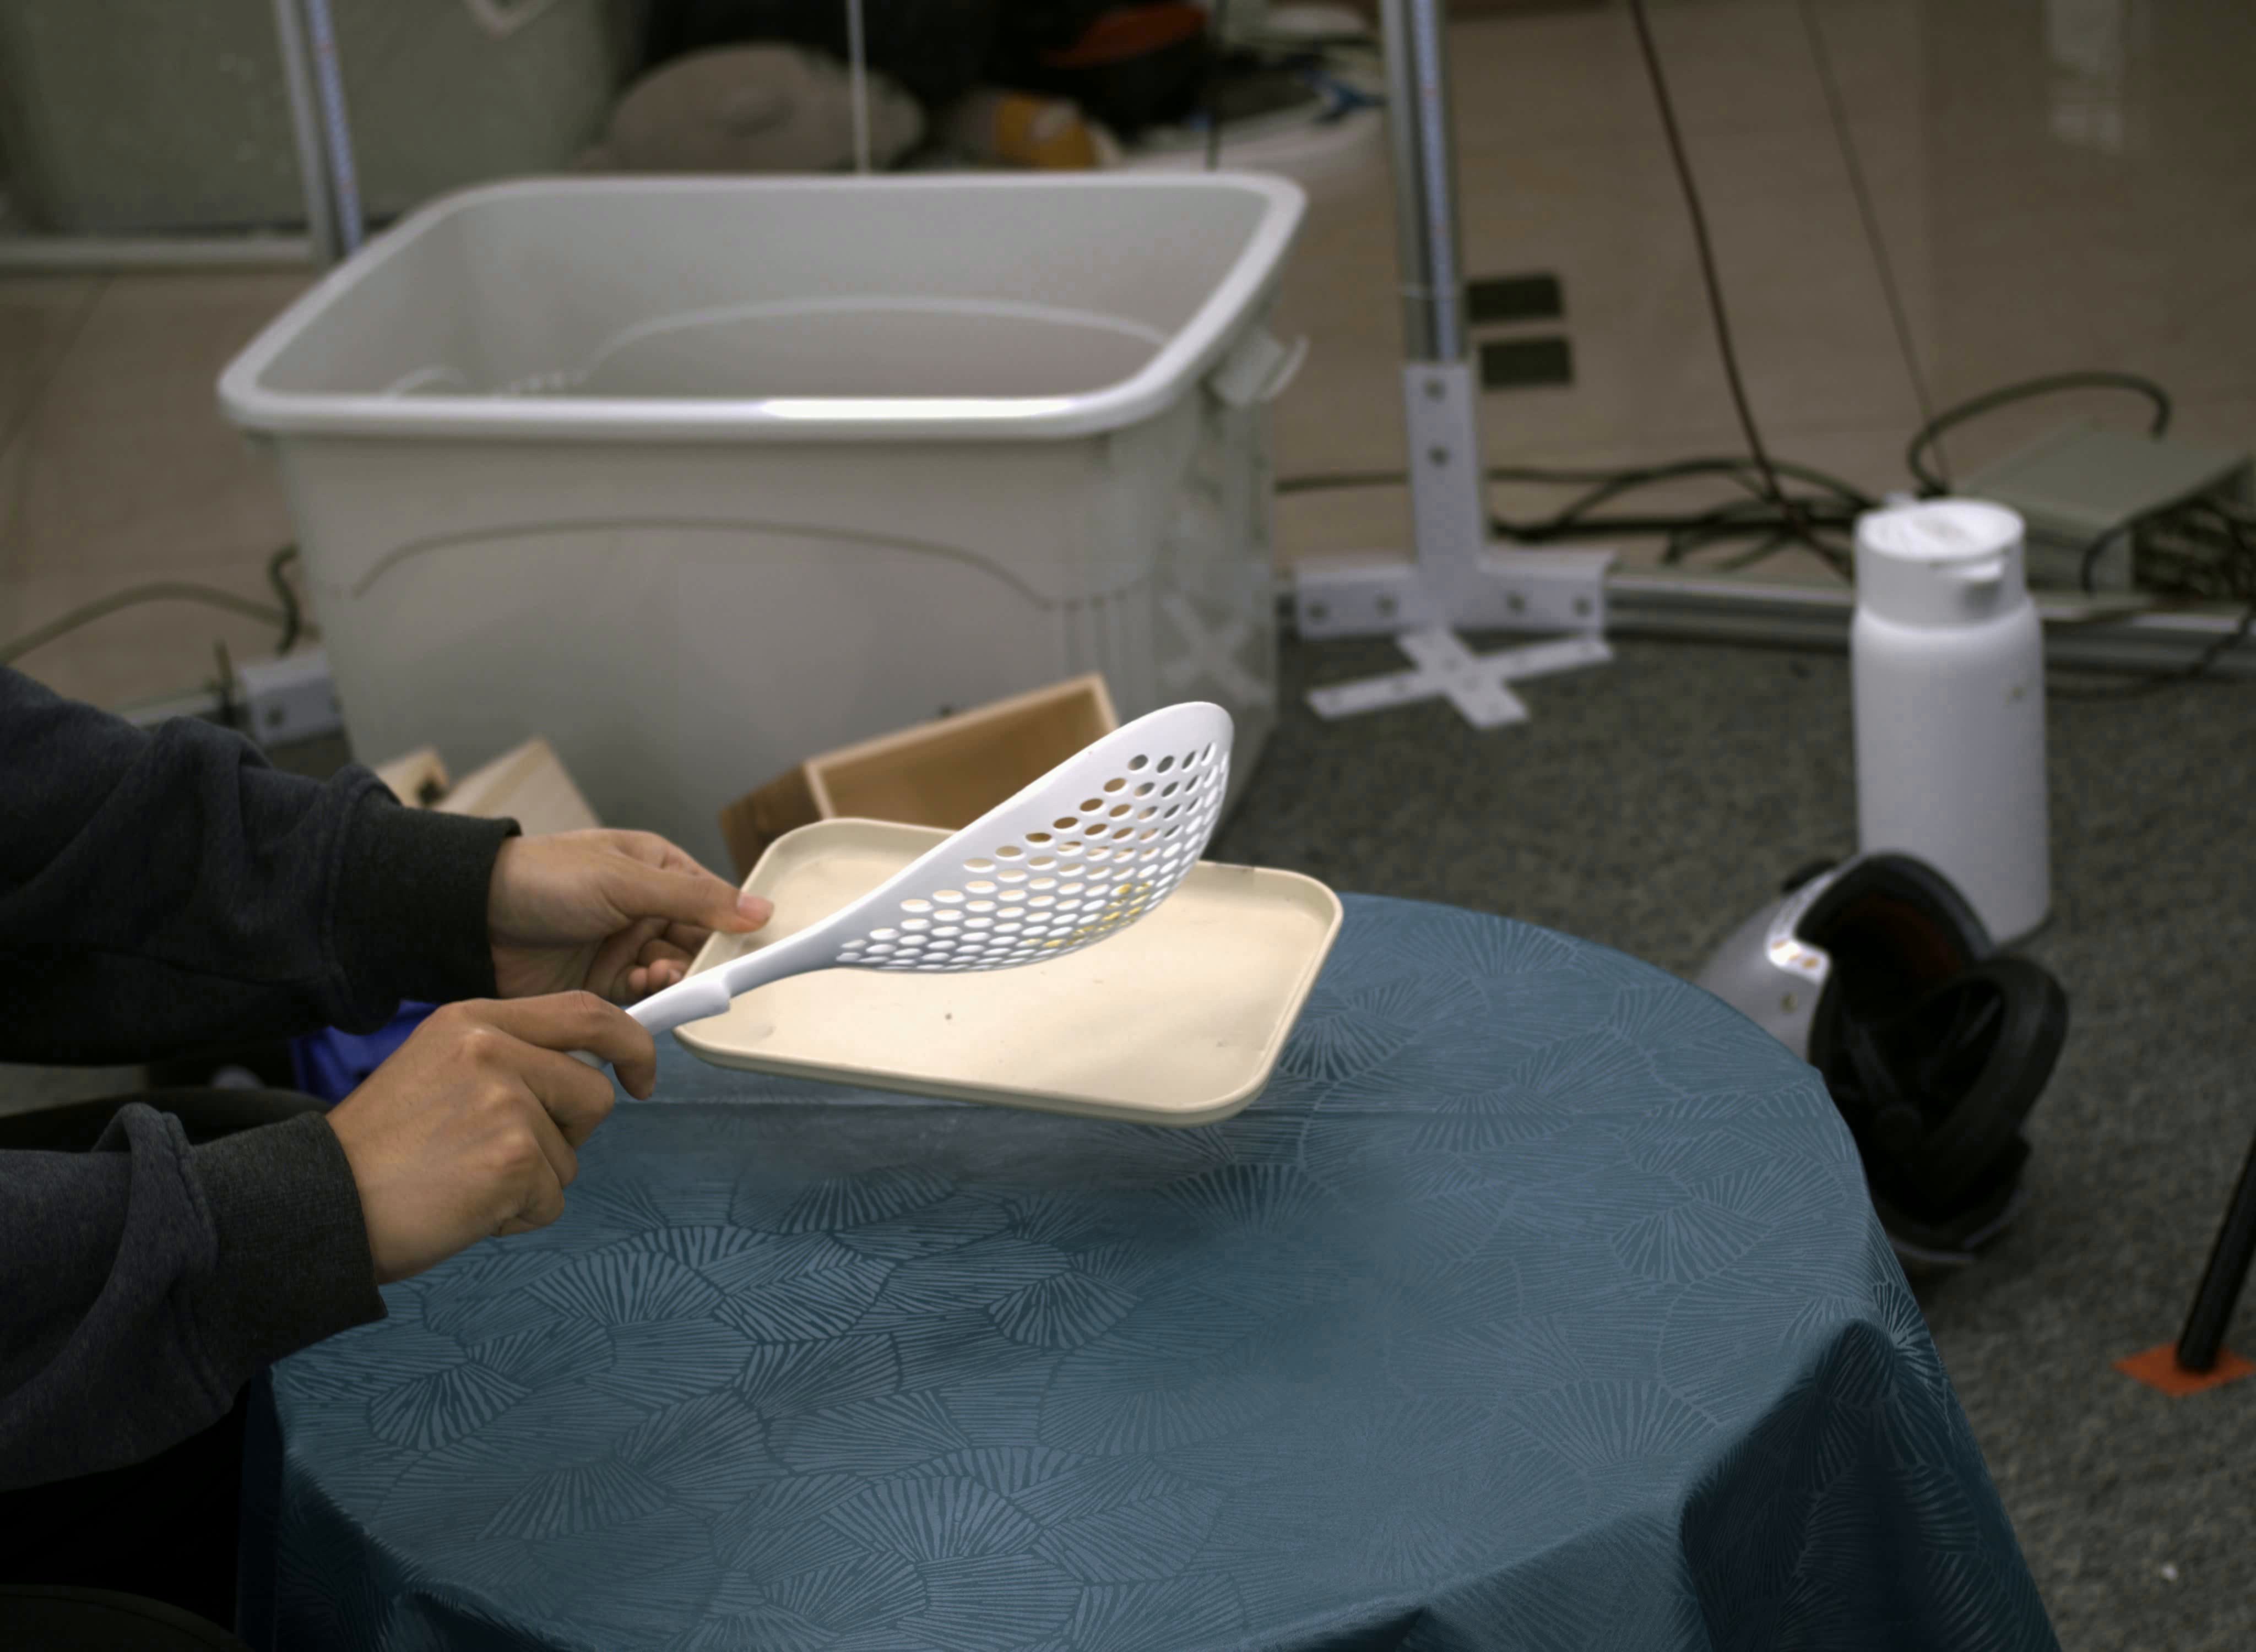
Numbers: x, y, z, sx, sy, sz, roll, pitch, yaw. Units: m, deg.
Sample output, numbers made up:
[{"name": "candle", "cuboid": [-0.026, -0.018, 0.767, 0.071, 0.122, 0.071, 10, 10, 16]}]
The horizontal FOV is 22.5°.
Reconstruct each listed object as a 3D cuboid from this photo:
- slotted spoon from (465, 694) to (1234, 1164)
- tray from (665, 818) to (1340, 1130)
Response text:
[{"name": "slotted spoon", "cuboid": [-0.096, 0.046, 1.995, 0.346, 0.139, 0.050, -20, 66, -31]}, {"name": "tray", "cuboid": [-0.047, 0.057, 2.190, 0.239, 0.018, 0.168, 7, 34, 15]}]
